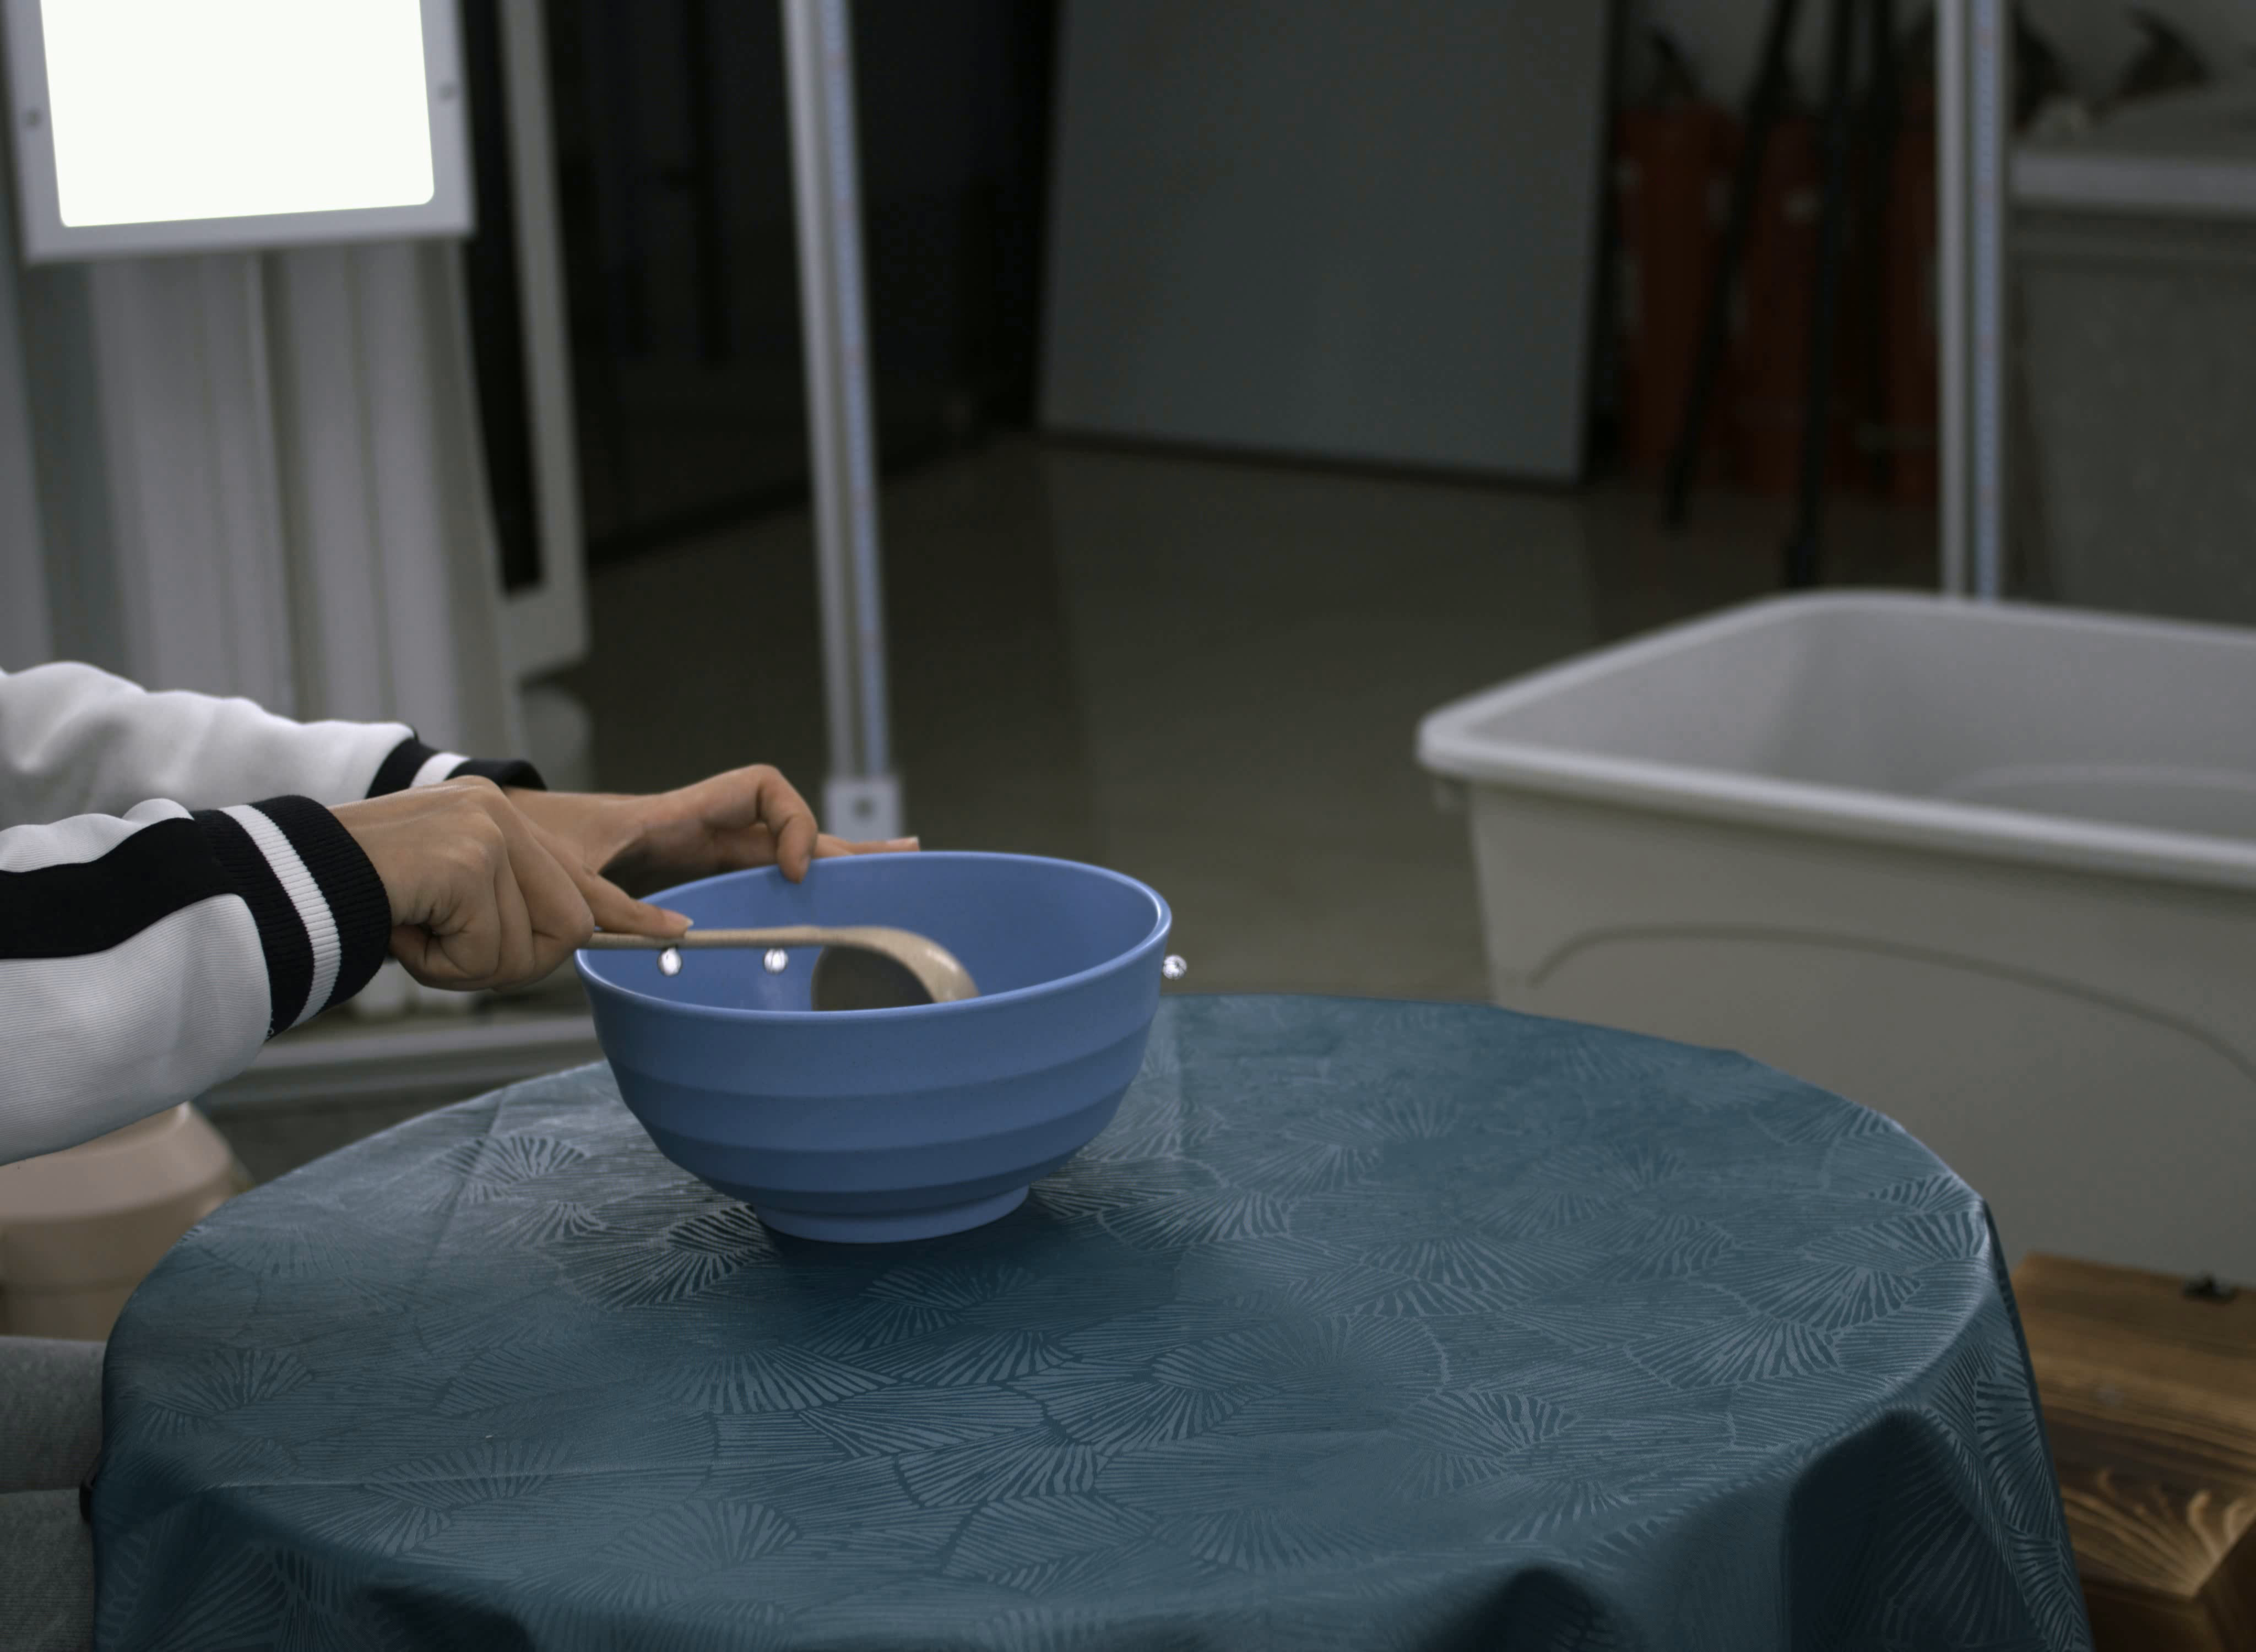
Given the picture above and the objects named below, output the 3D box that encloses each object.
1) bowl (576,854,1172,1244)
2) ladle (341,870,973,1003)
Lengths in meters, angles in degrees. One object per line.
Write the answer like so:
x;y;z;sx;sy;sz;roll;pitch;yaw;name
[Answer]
-0.081;0.078;1.767;0.194;0.096;0.197;-2;13;-1;bowl
-0.149;0.063;1.710;0.248;0.074;0.073;8;4;-42;ladle
